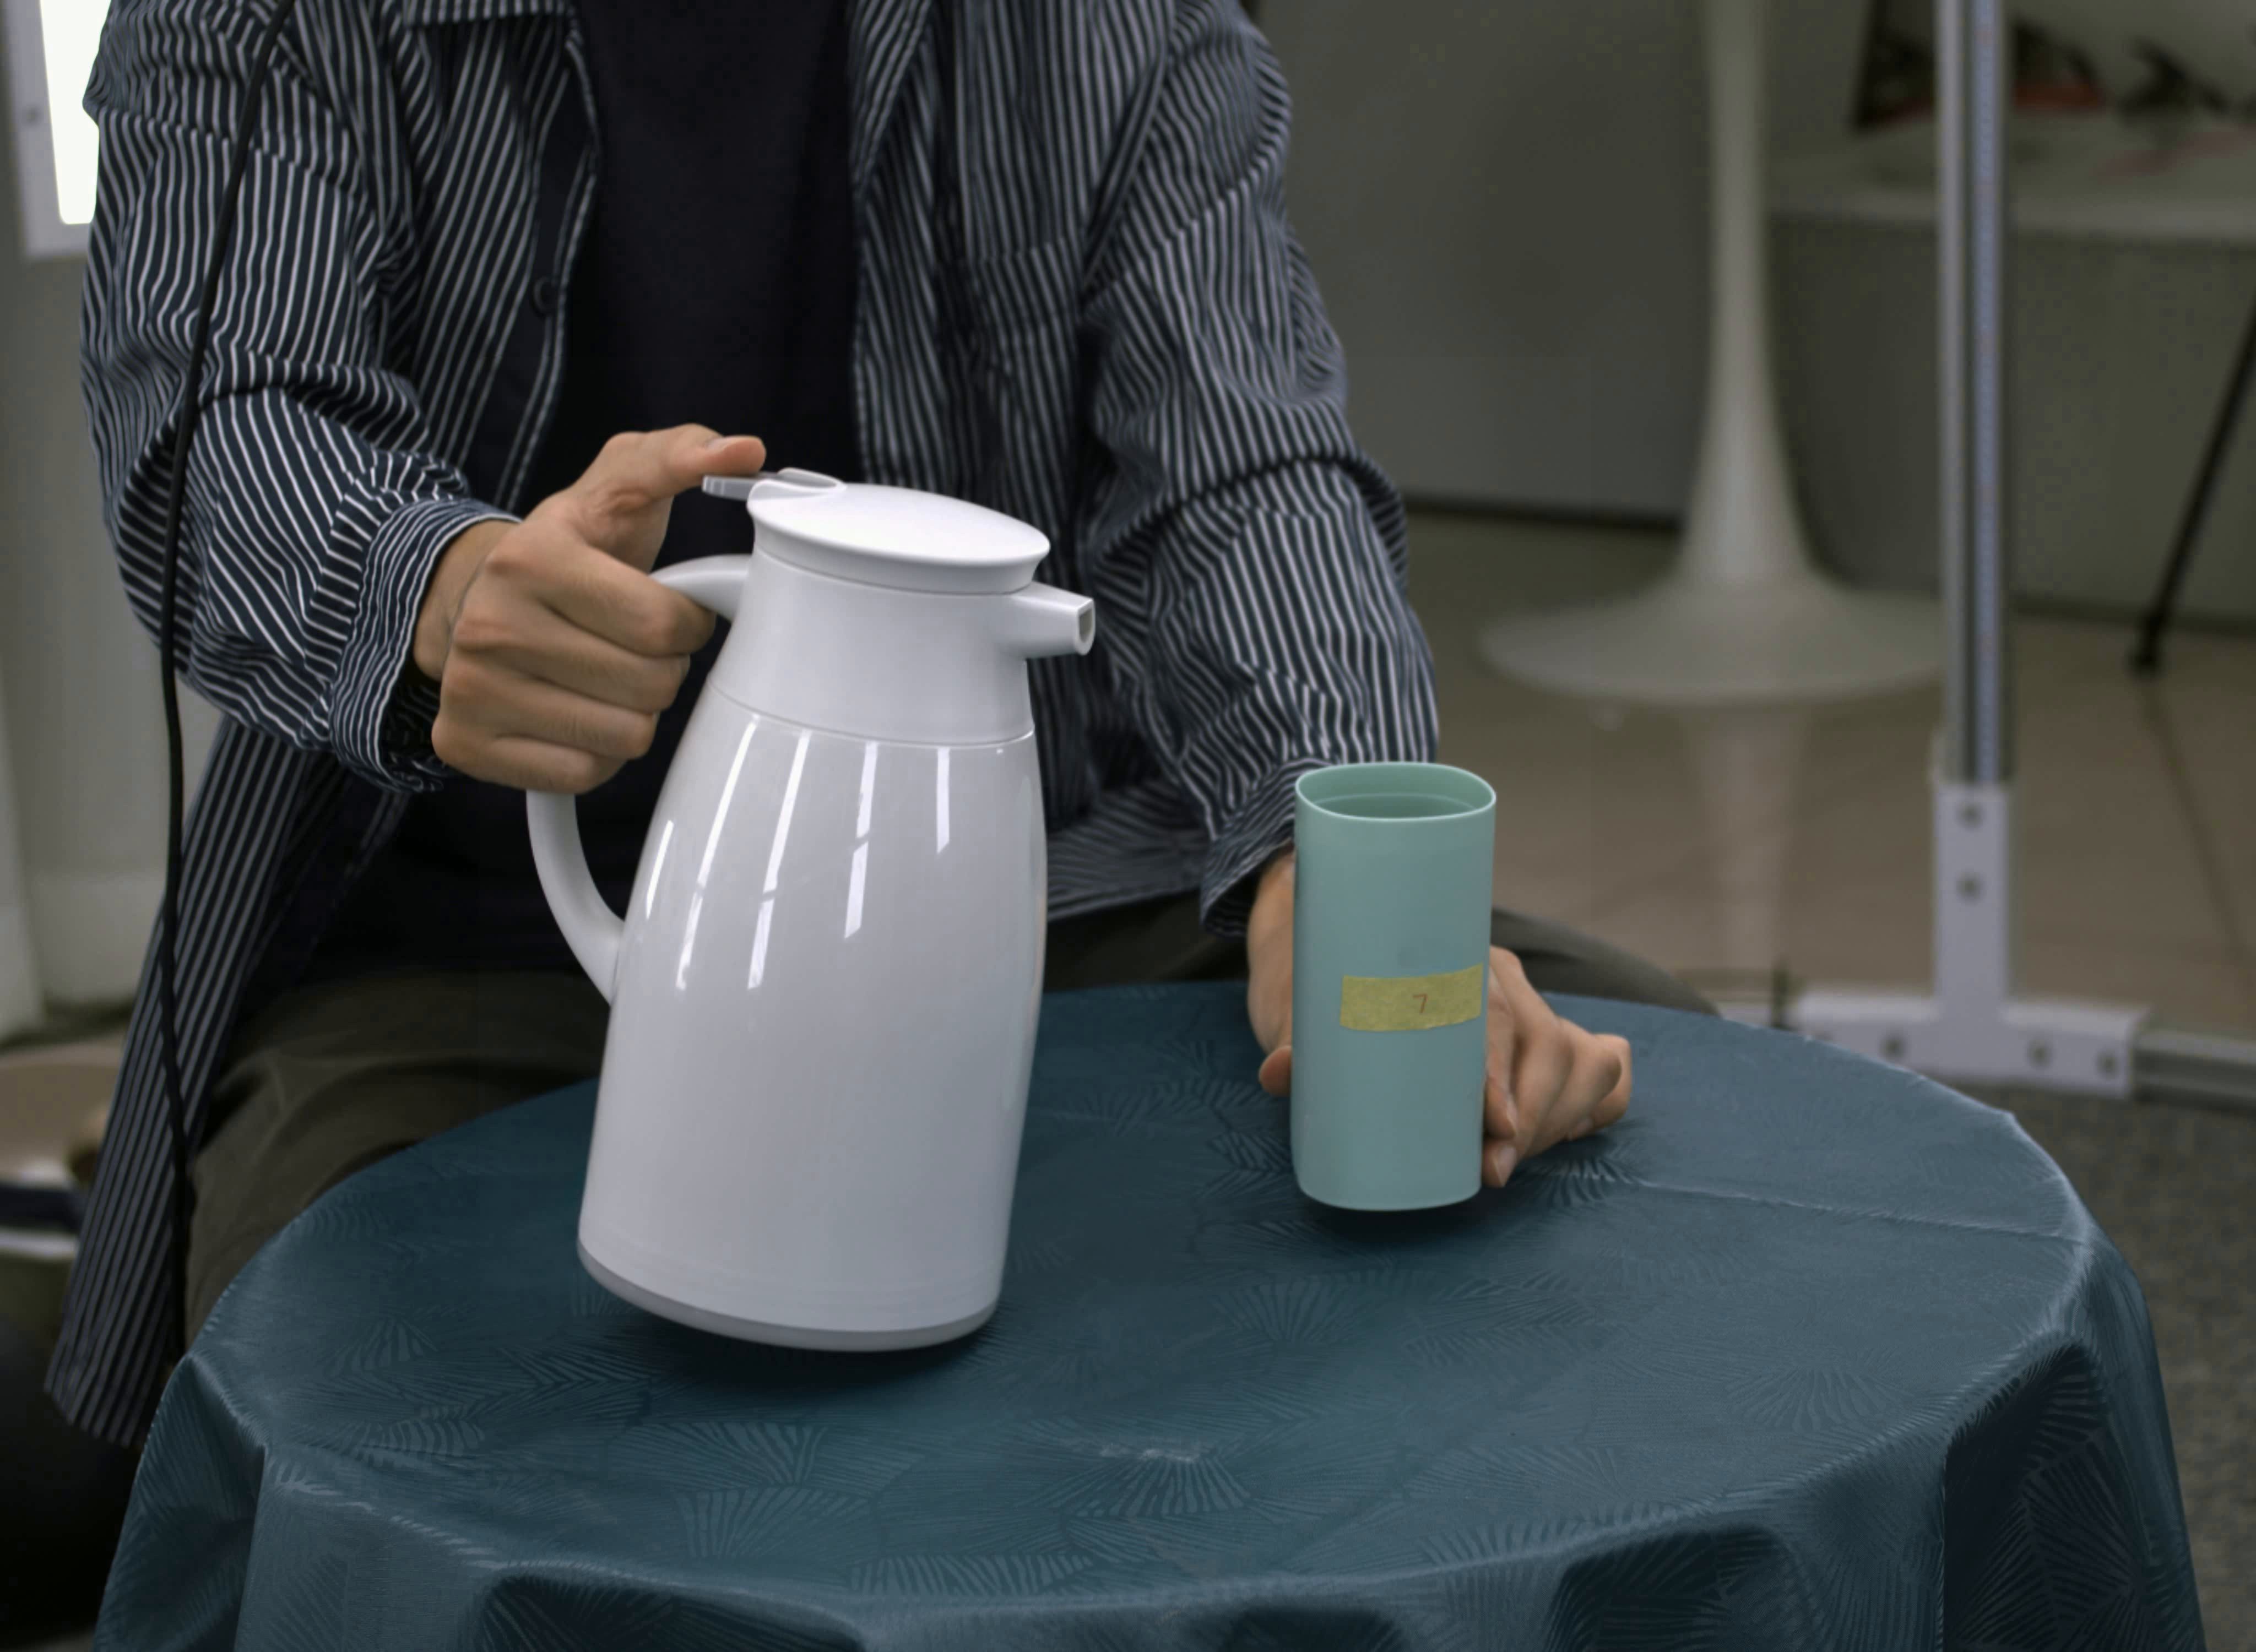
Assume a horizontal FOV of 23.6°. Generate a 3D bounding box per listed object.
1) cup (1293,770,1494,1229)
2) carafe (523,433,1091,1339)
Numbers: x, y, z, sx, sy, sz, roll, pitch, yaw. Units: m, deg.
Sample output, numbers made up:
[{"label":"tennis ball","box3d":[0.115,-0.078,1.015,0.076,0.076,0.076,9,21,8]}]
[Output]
[{"label":"cup","box3d":[0.083,0.054,1.699,0.066,0.134,0.067,0,16,-1]},{"label":"carafe","box3d":[-0.104,0.010,1.625,0.167,0.251,0.131,10,14,11]}]
